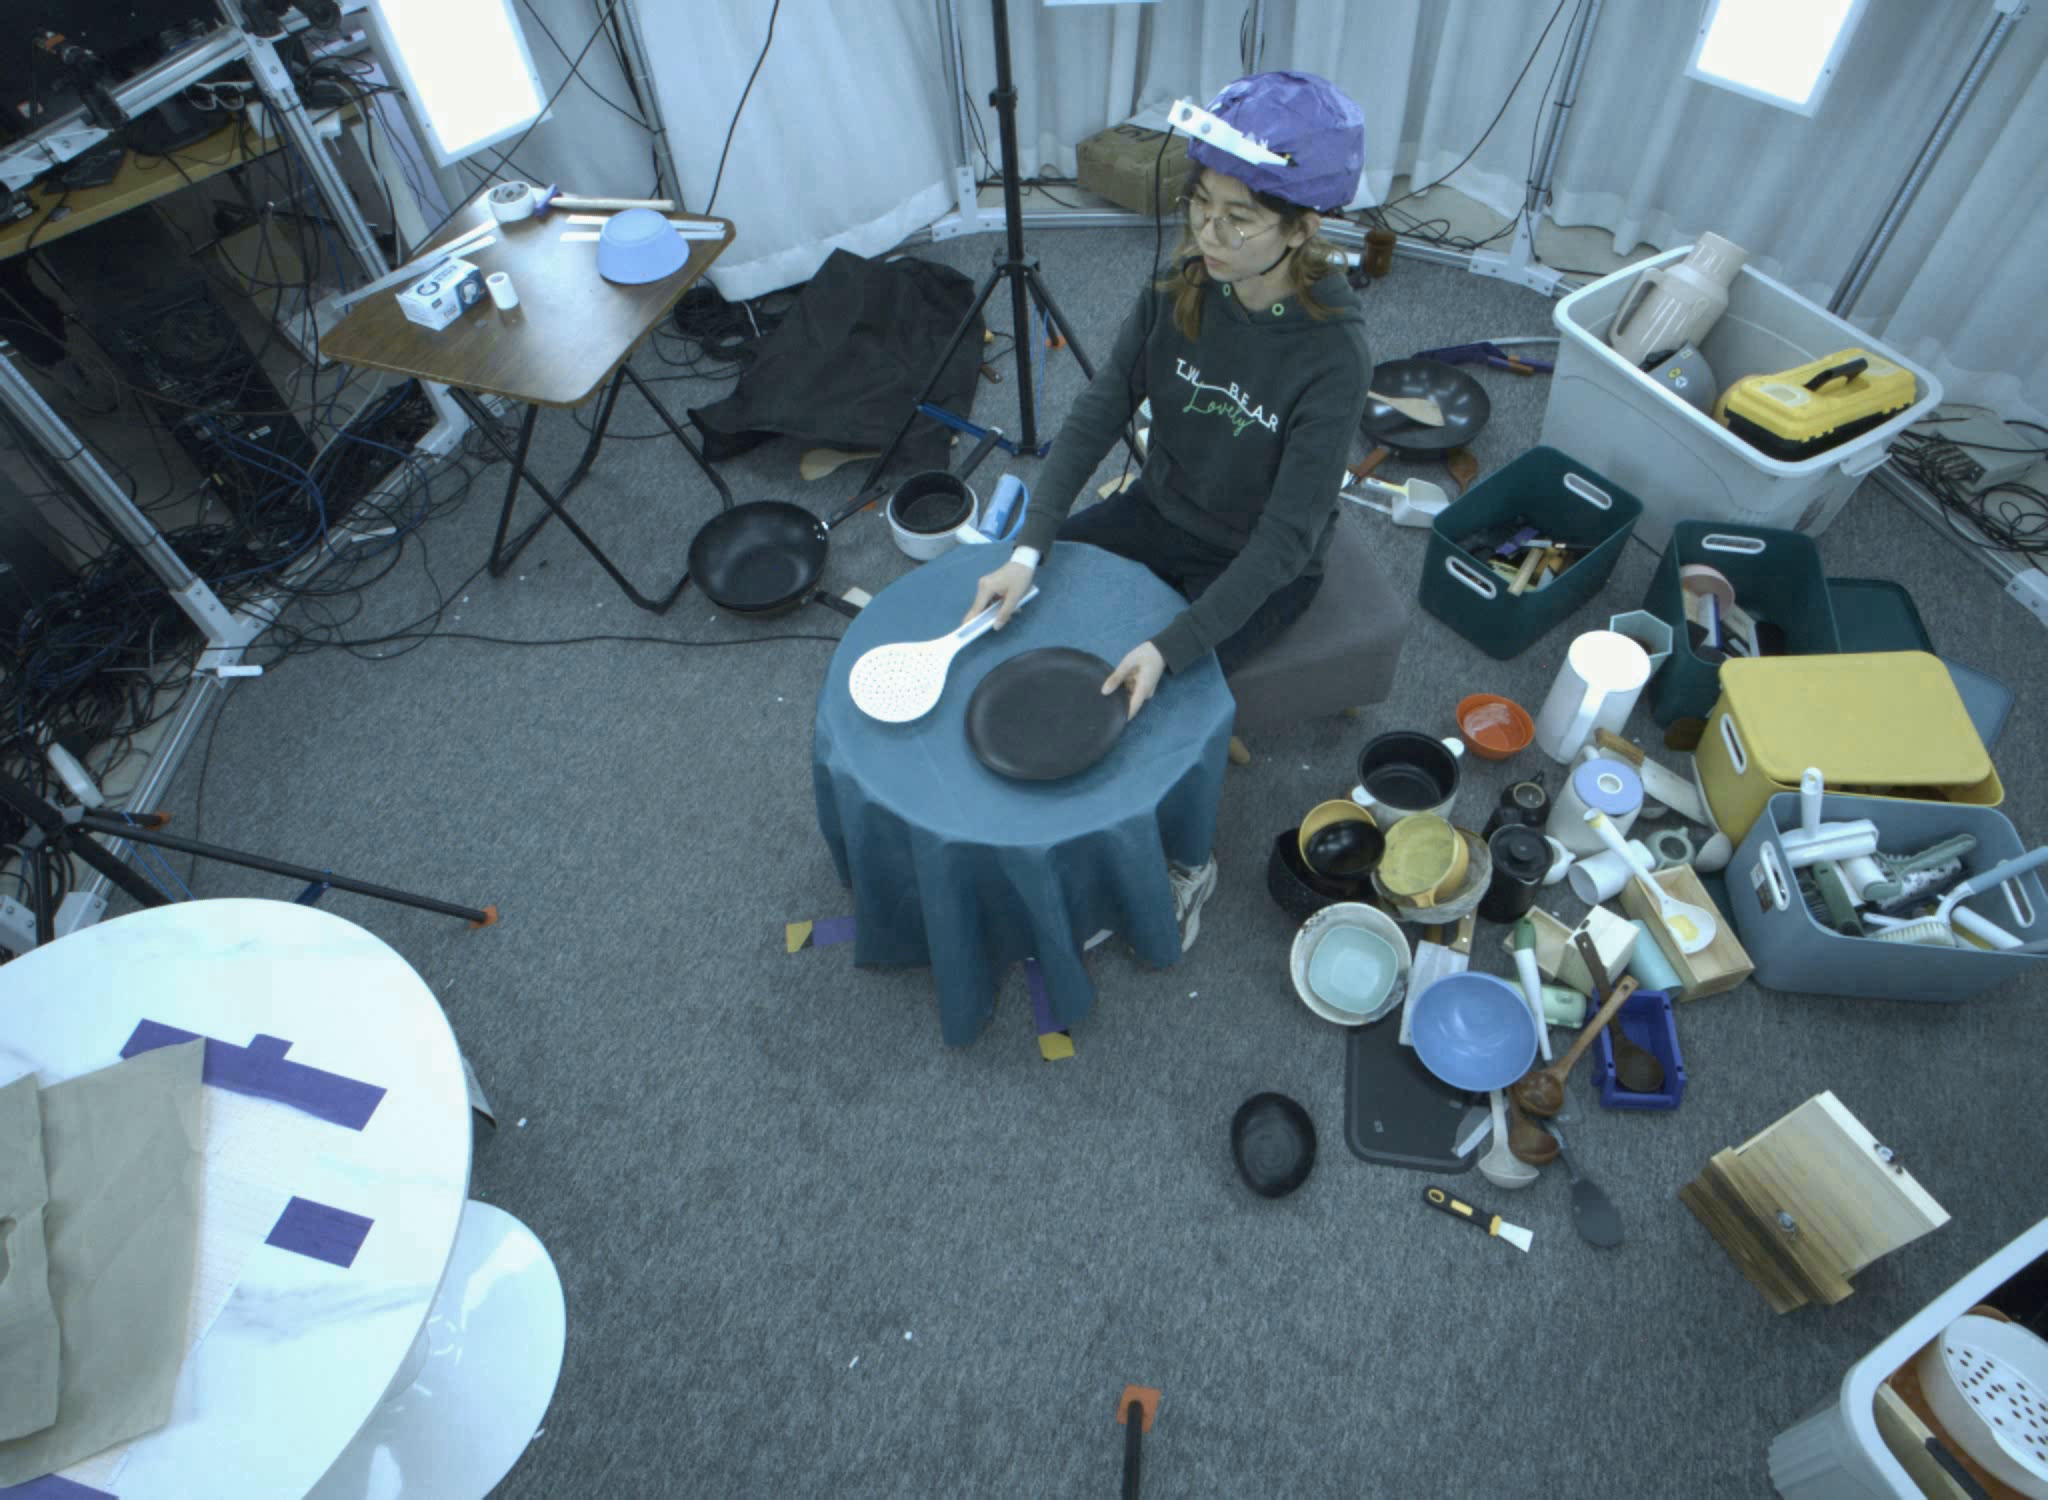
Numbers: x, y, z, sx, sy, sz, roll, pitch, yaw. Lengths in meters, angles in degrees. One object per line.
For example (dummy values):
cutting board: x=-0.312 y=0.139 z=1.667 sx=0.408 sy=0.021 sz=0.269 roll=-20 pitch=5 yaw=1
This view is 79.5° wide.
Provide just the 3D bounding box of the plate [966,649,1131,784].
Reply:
plate: x=0.036 y=-0.047 z=1.802 sx=0.243 sy=0.024 sz=0.242 roll=-5 pitch=55 yaw=8

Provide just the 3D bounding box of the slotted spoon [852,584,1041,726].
slotted spoon: x=-0.110 y=-0.154 z=1.870 sx=0.352 sy=0.046 sz=0.134 roll=-40 pitch=74 yaw=-19
